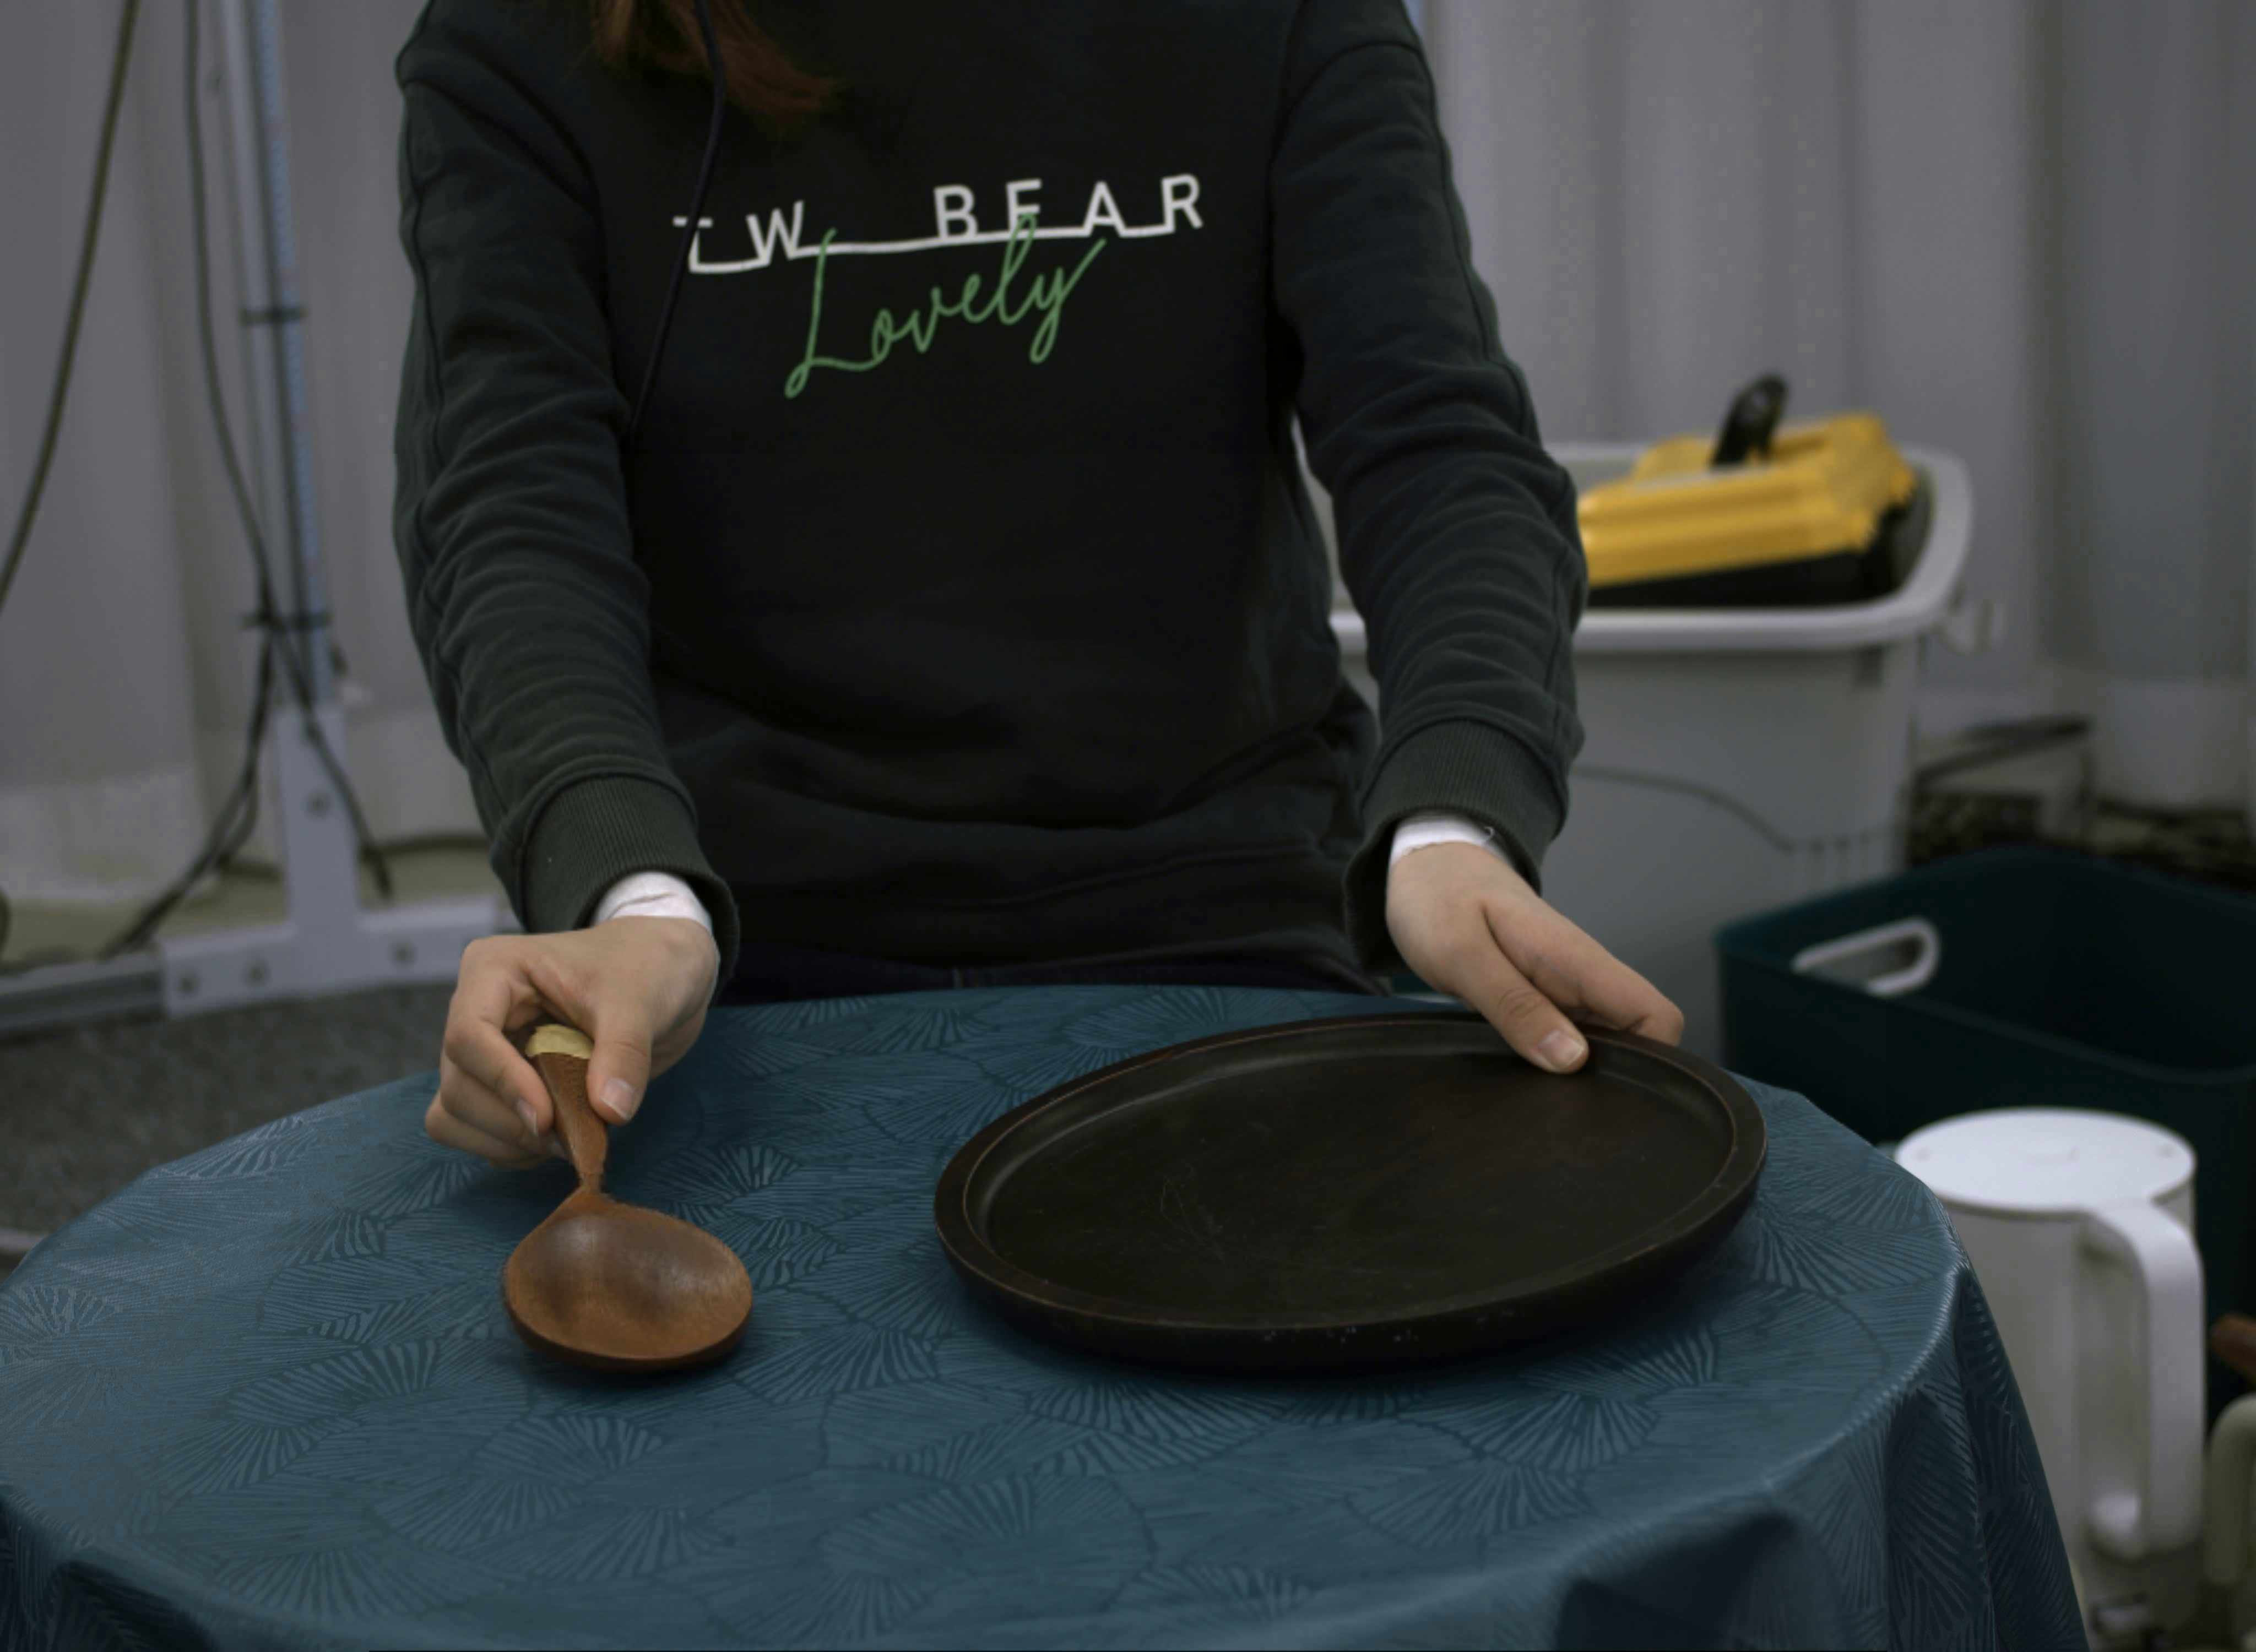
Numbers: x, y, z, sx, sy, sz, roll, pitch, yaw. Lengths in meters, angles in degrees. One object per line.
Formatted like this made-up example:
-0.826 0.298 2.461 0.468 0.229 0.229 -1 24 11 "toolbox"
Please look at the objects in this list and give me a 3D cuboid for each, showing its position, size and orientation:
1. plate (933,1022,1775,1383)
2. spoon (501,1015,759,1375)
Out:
0.067 0.110 1.645 0.254 0.029 0.257 -5 19 1 "plate"
-0.160 0.113 1.659 0.075 0.017 0.218 -3 26 -13 "spoon"
